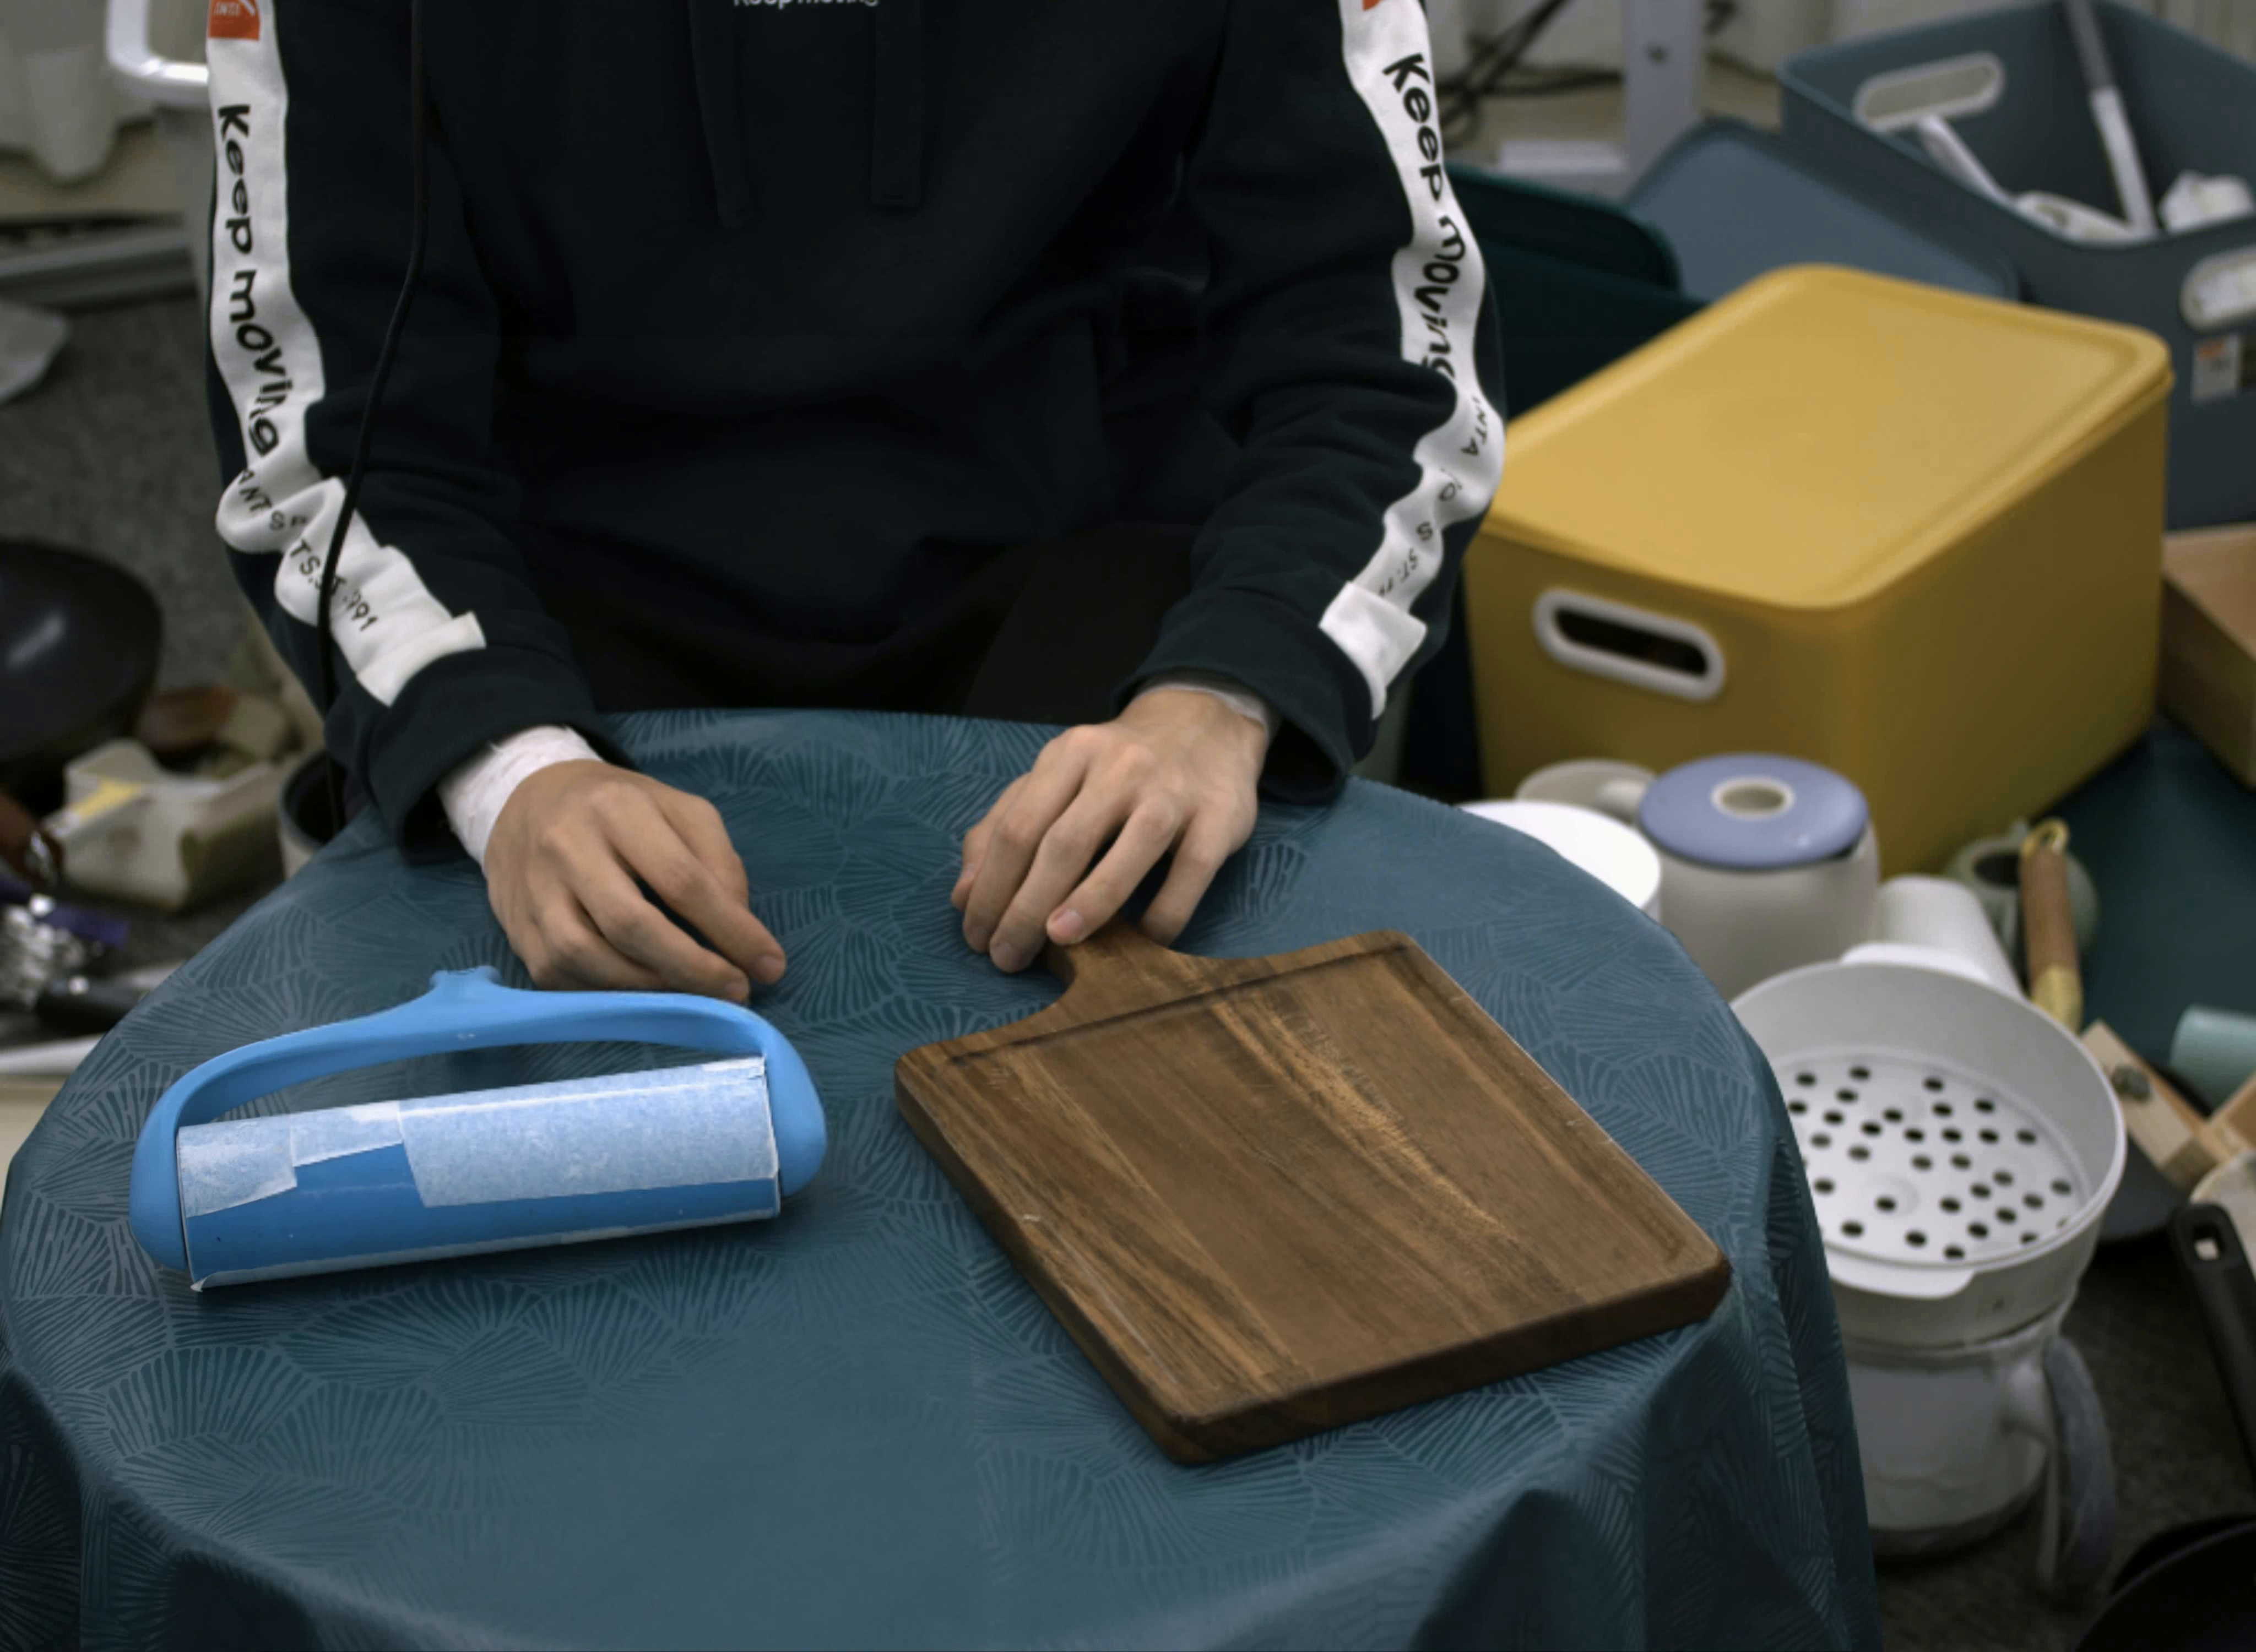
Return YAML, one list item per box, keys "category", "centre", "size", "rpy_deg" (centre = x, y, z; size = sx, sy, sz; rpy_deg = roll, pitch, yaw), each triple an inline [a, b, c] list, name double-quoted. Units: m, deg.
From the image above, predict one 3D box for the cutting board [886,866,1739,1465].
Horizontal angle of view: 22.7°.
- category: "cutting board"
  centre: [0.036, 0.095, 1.883]
  size: [0.202, 0.023, 0.354]
  rpy_deg: [-13, 29, -20]

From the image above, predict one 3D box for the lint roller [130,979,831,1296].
- category: "lint roller"
  centre: [-0.223, 0.087, 1.888]
  size: [0.228, 0.067, 0.182]
  rpy_deg: [-9, 28, -9]
